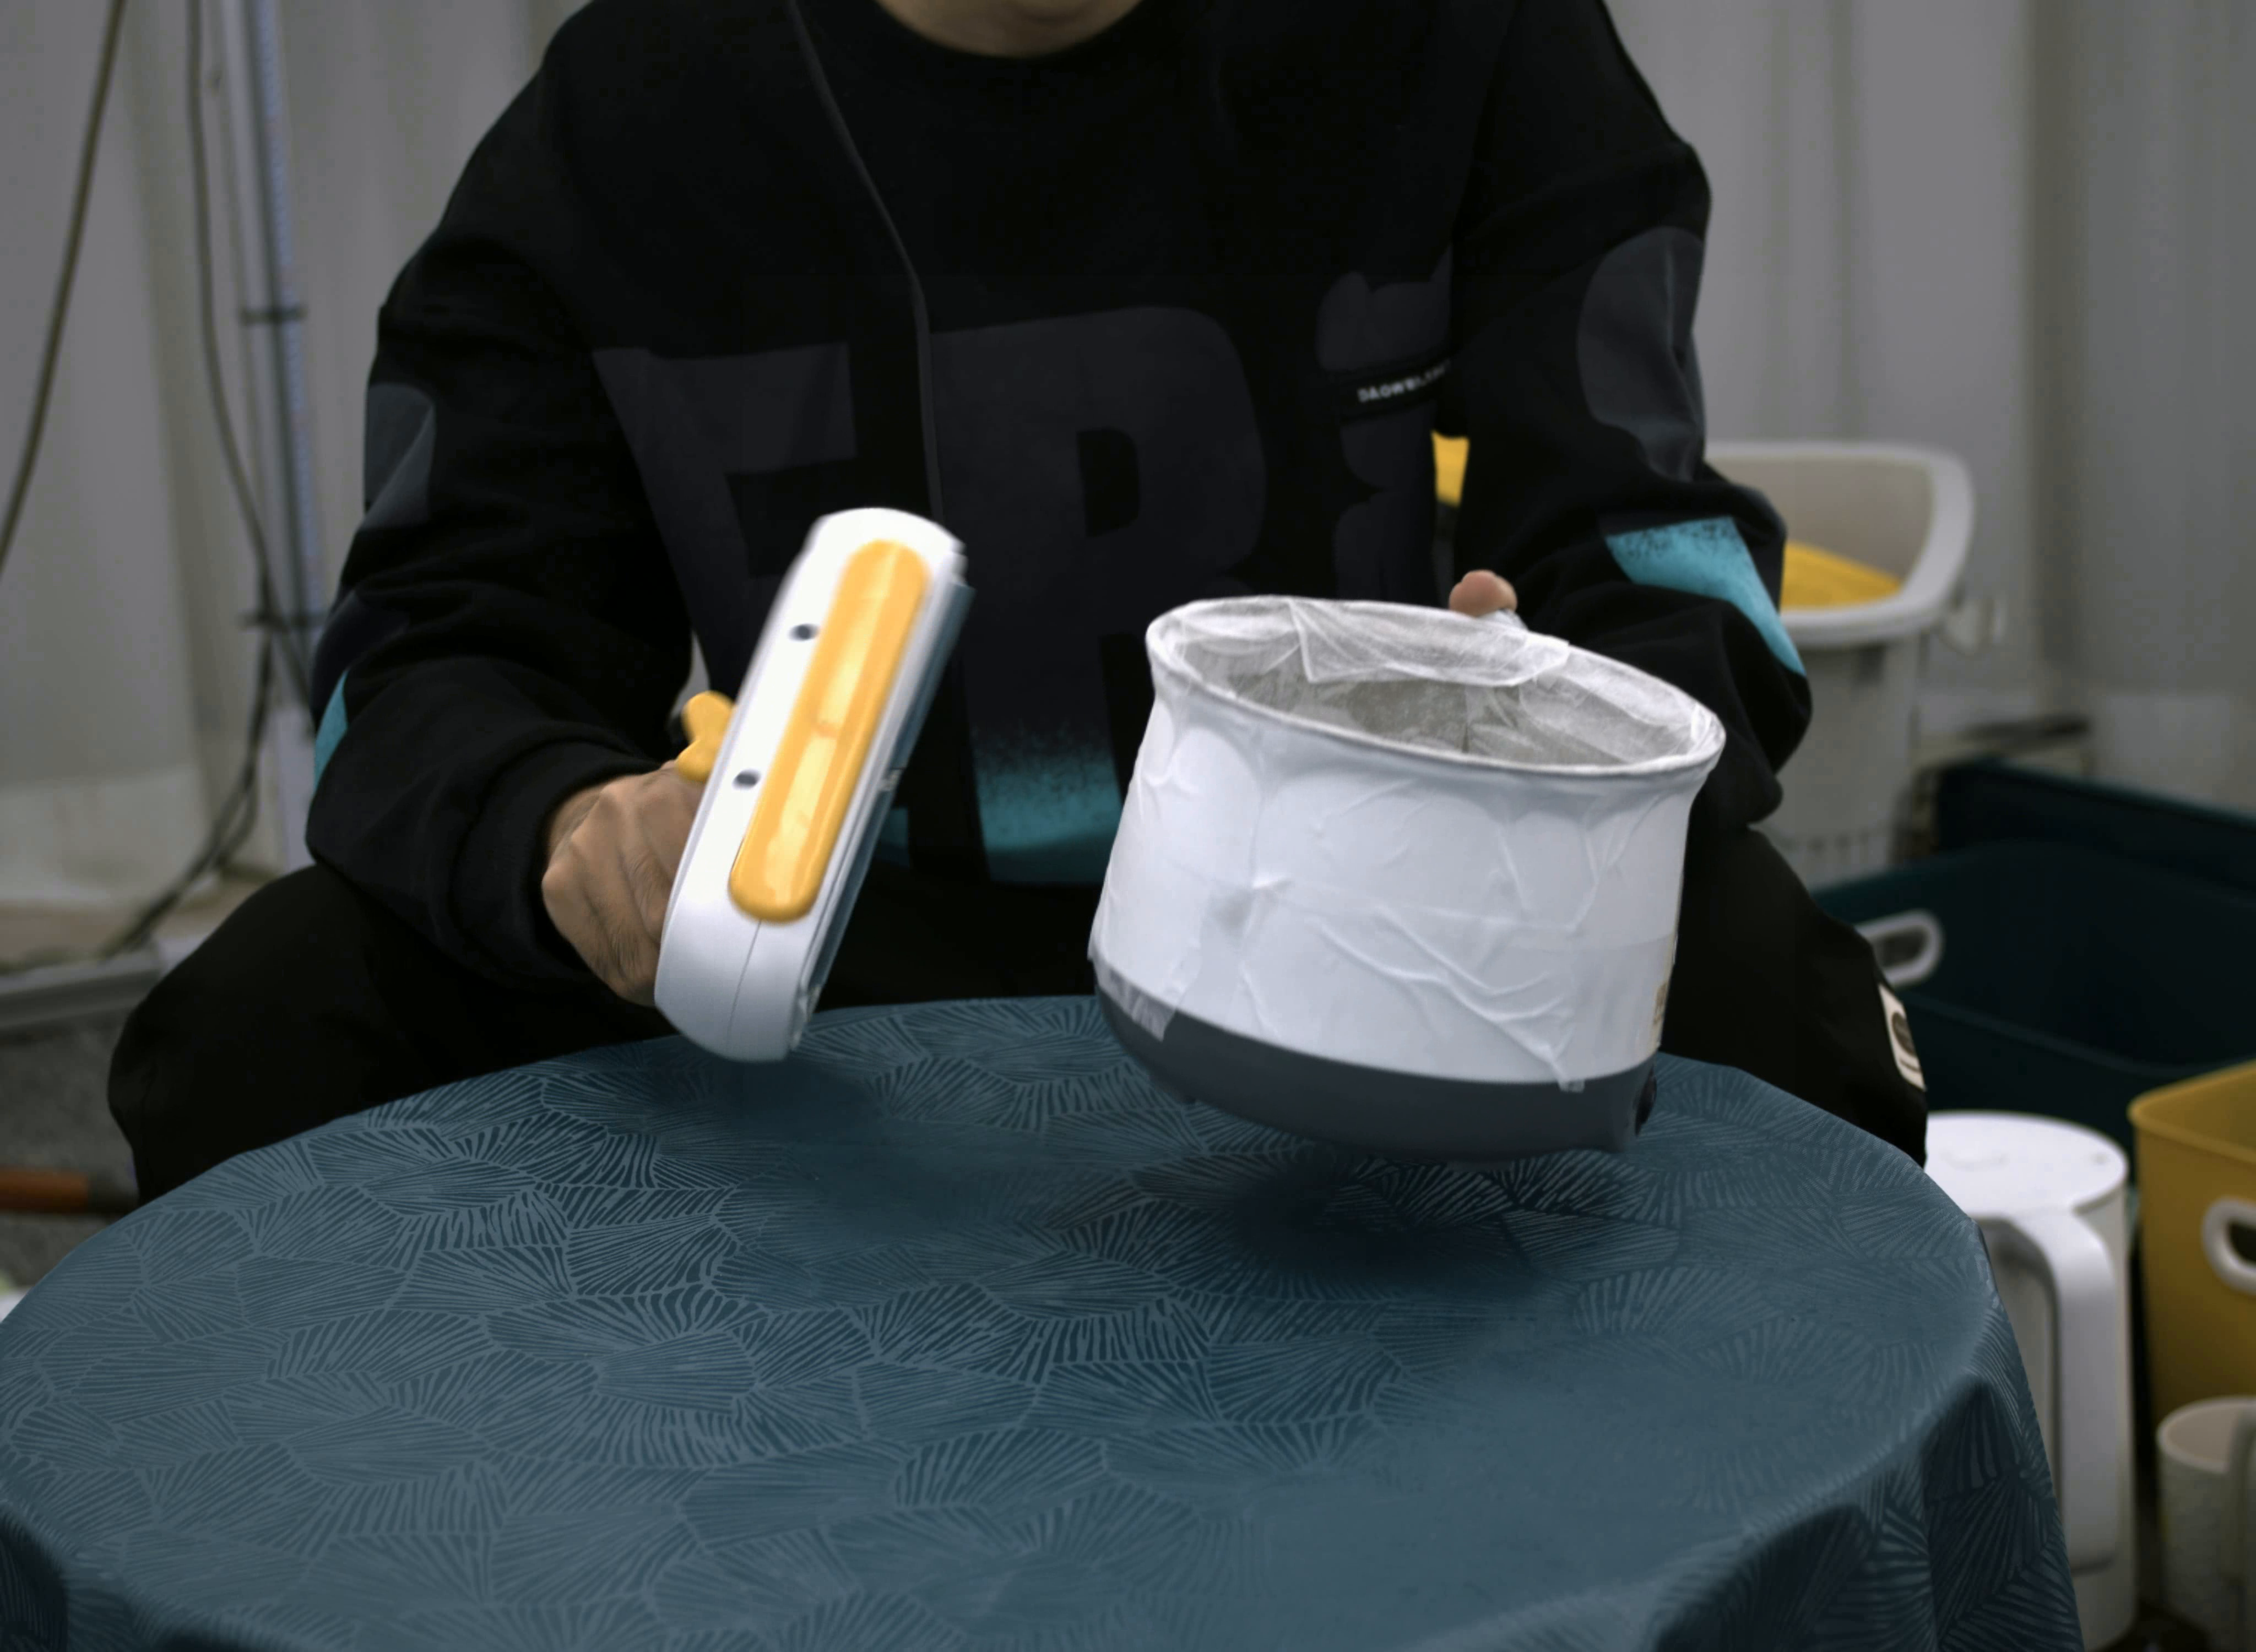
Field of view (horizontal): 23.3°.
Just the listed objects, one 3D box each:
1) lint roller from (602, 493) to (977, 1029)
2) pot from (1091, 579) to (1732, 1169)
[{"bbox_3d":[-0.120,0.006,1.770,0.074,0.190,0.195,21,53,-7],"label":"lint roller"},{"bbox_3d":[0.089,0.007,1.684,0.179,0.136,0.234,15,17,10],"label":"pot"}]
